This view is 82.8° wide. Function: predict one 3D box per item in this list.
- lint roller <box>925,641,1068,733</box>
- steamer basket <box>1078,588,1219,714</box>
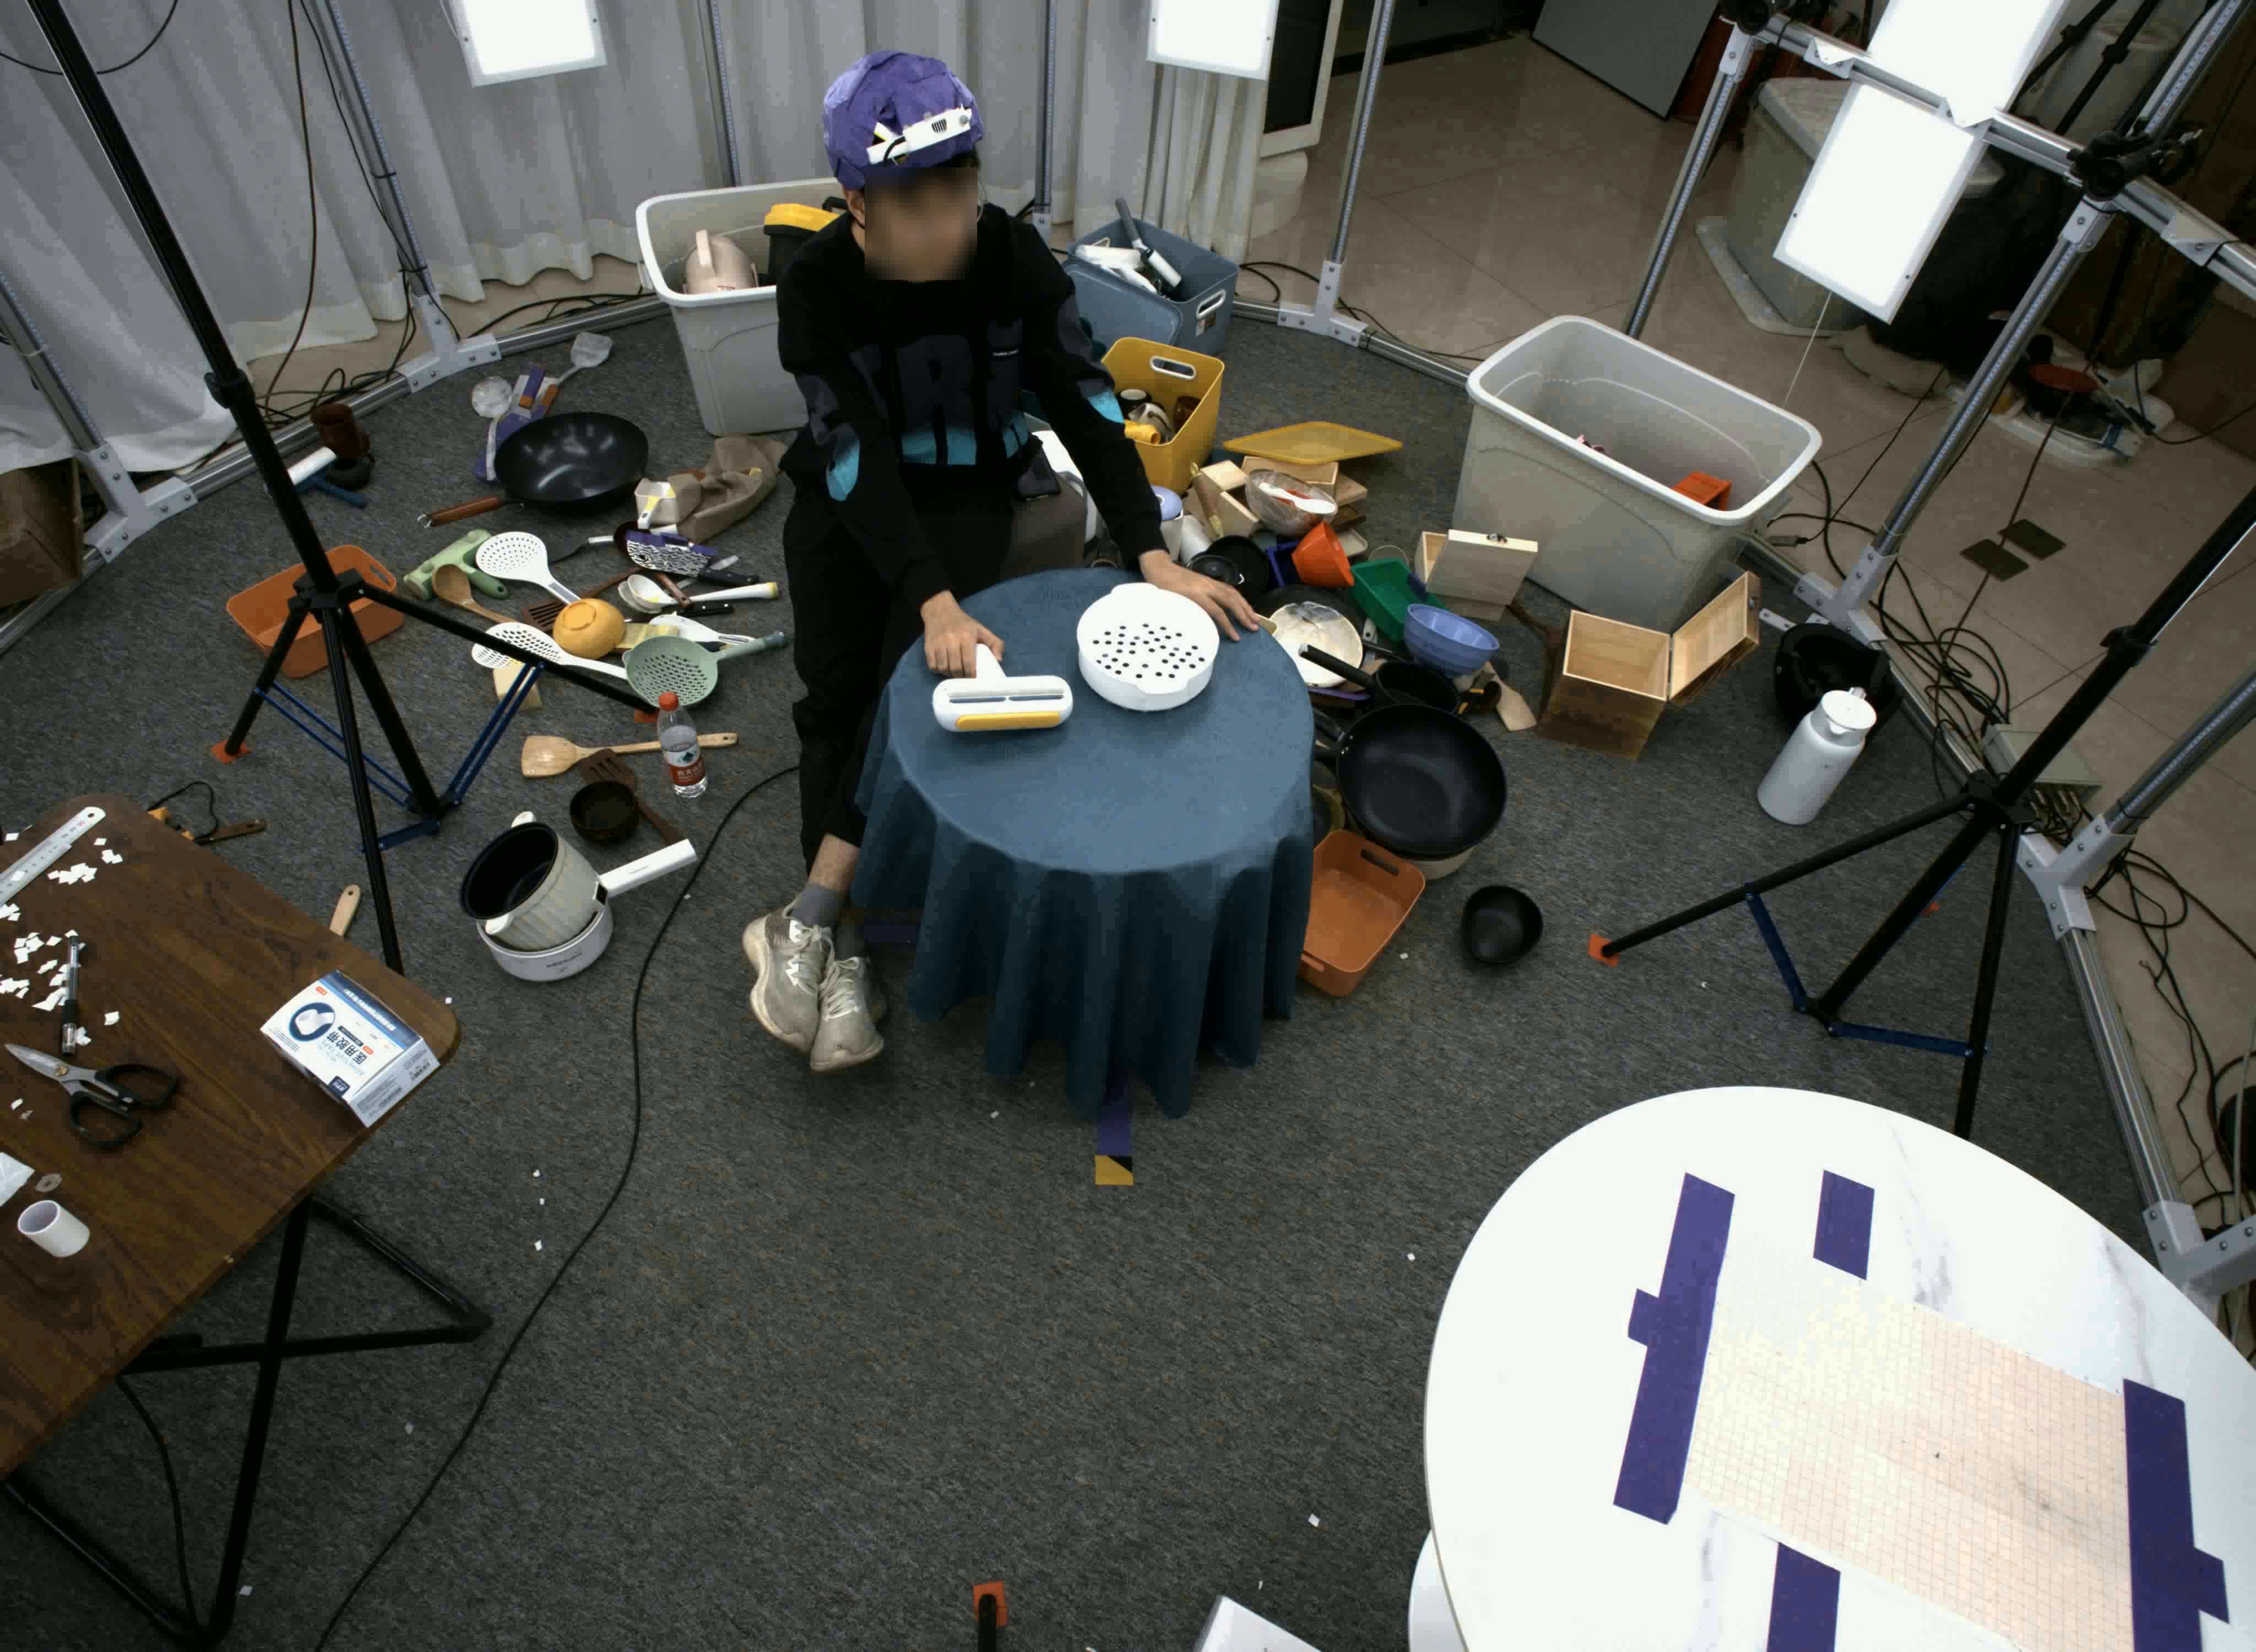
[{"bbox_3d":[-0.191,-0.205,1.790,0.192,0.072,0.197,-5,48,-14],"label":"lint roller"},{"bbox_3d":[0.027,-0.248,1.842,0.201,0.067,0.236,-5,48,-10],"label":"steamer basket"}]
